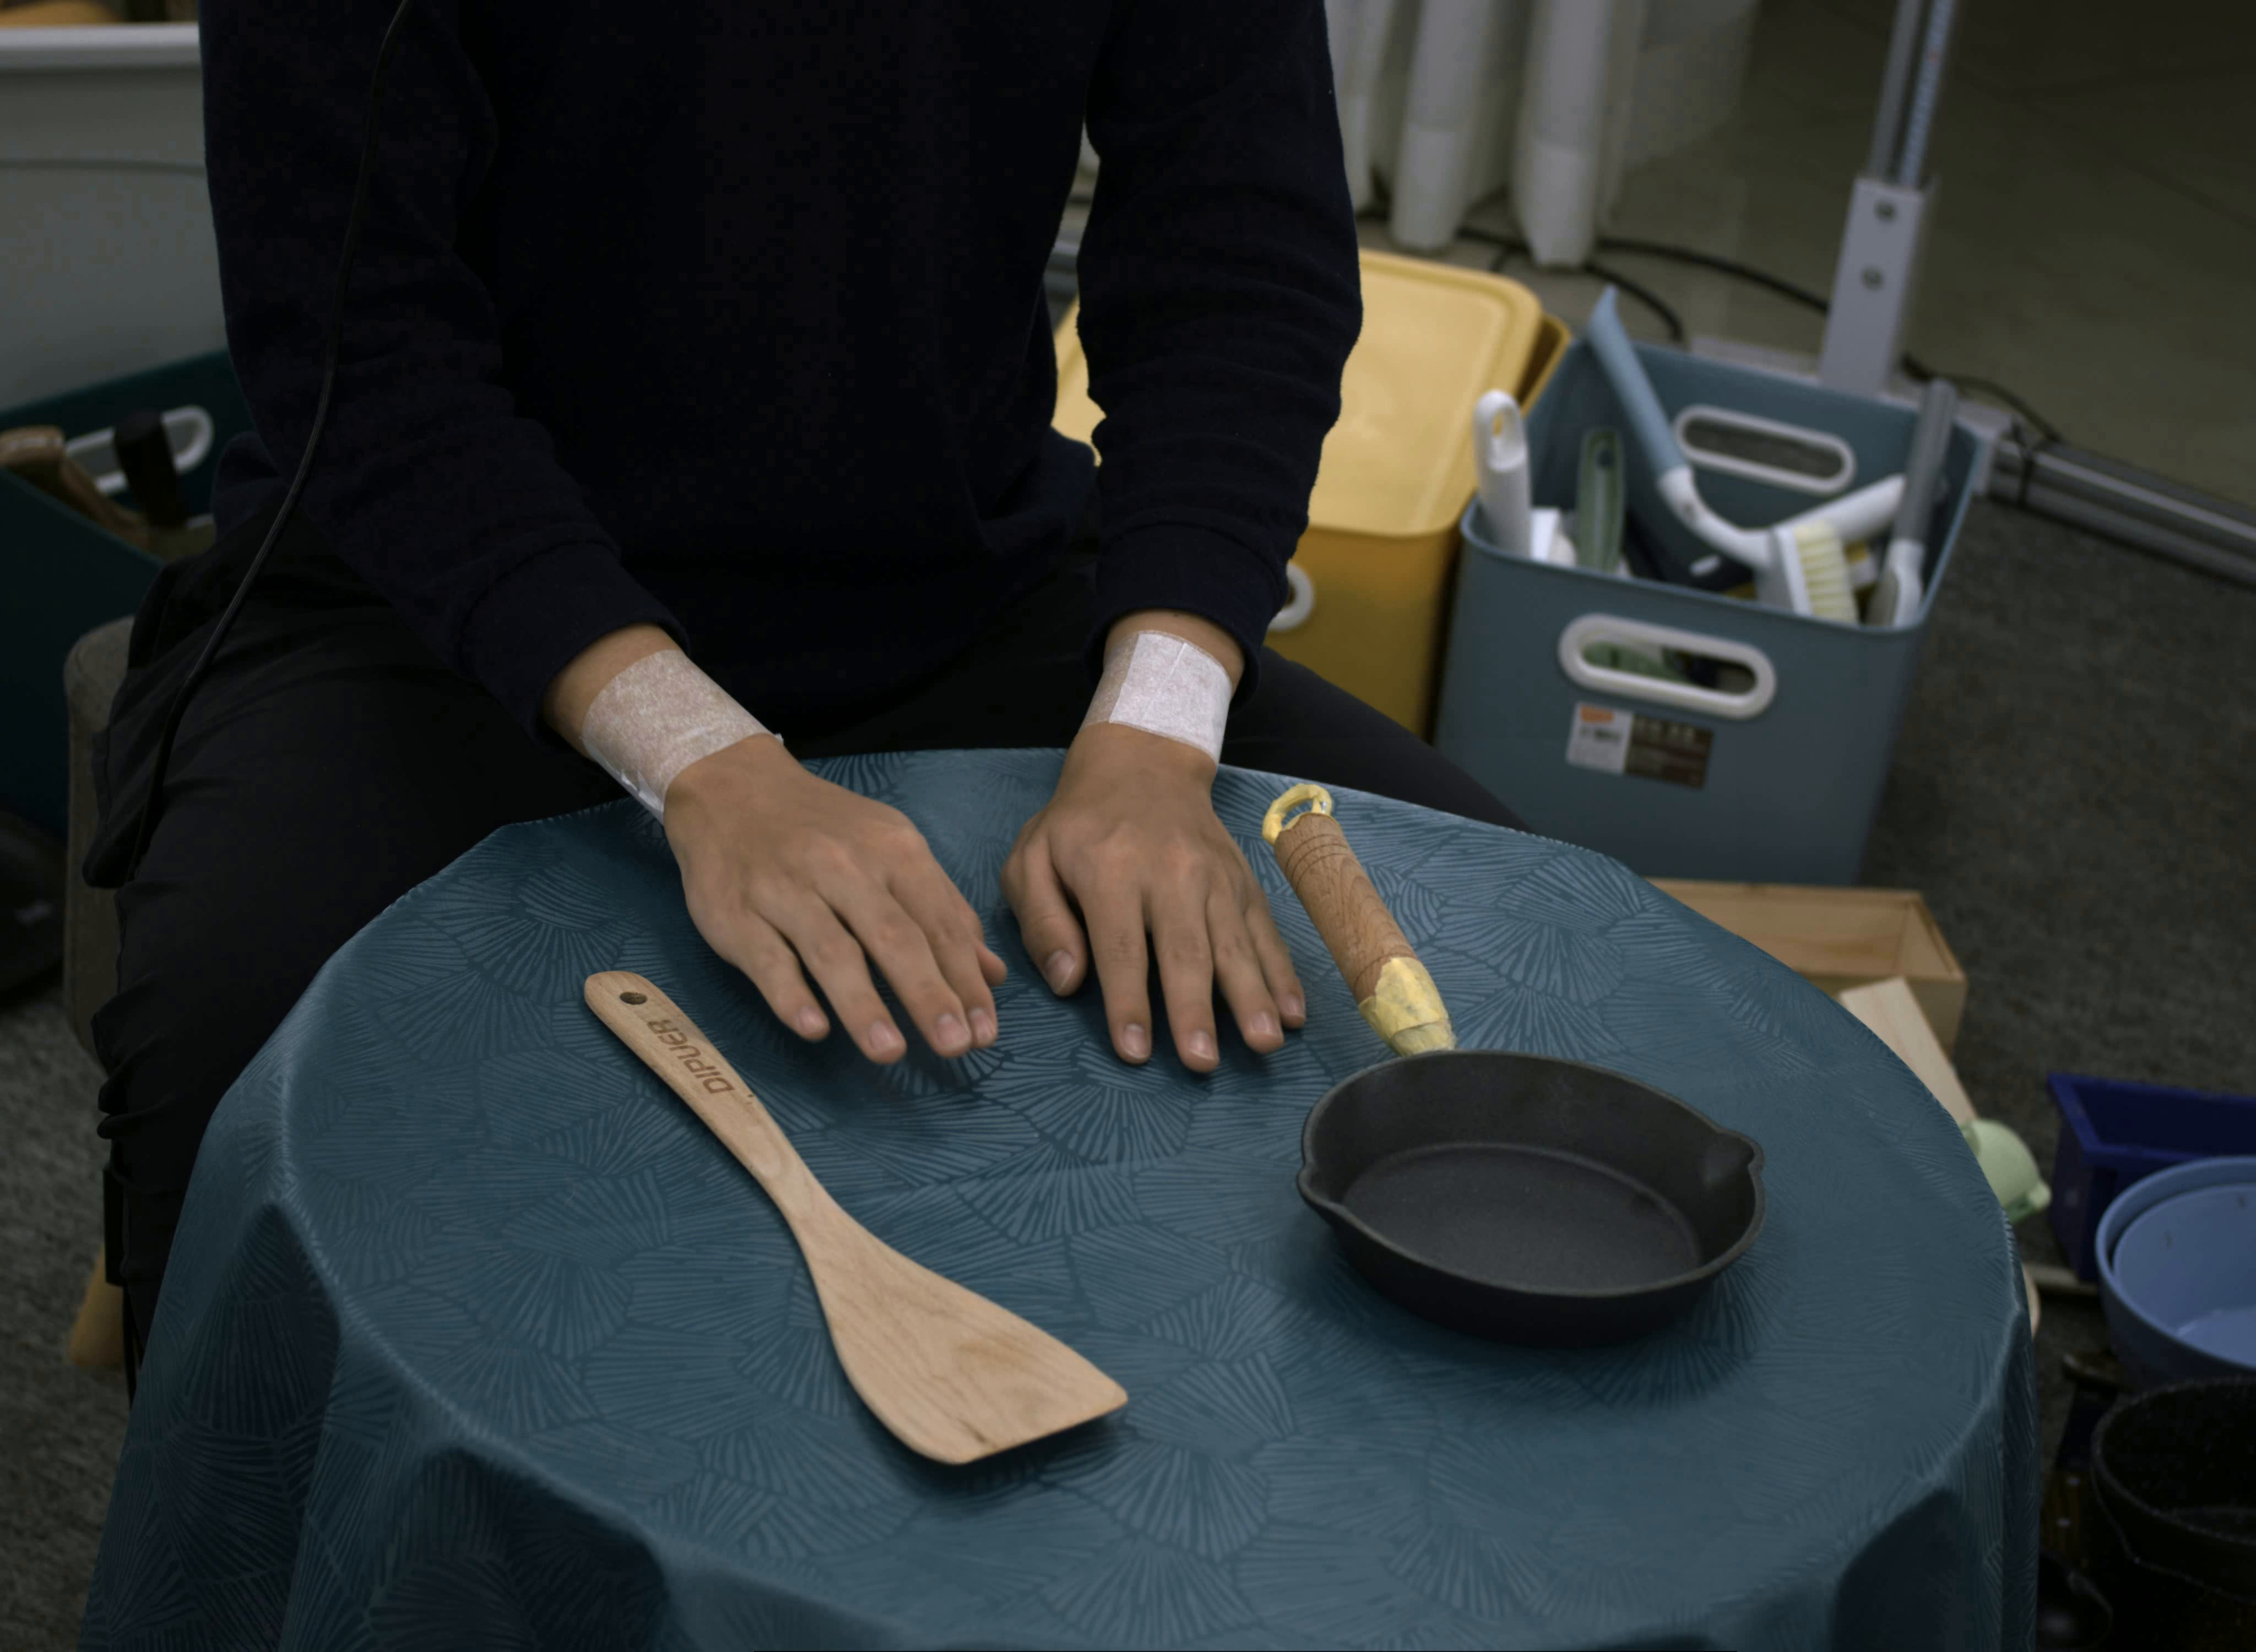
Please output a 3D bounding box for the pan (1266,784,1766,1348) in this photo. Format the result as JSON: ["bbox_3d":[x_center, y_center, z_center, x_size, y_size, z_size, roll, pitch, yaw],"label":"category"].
[{"bbox_3d":[0.110,0.081,1.855,0.168,0.049,0.327,-3,30,-18],"label":"pan"}]

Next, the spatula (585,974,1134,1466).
[{"bbox_3d":[-0.103,0.124,1.762,0.079,0.016,0.330,-9,31,-29],"label":"spatula"}]
